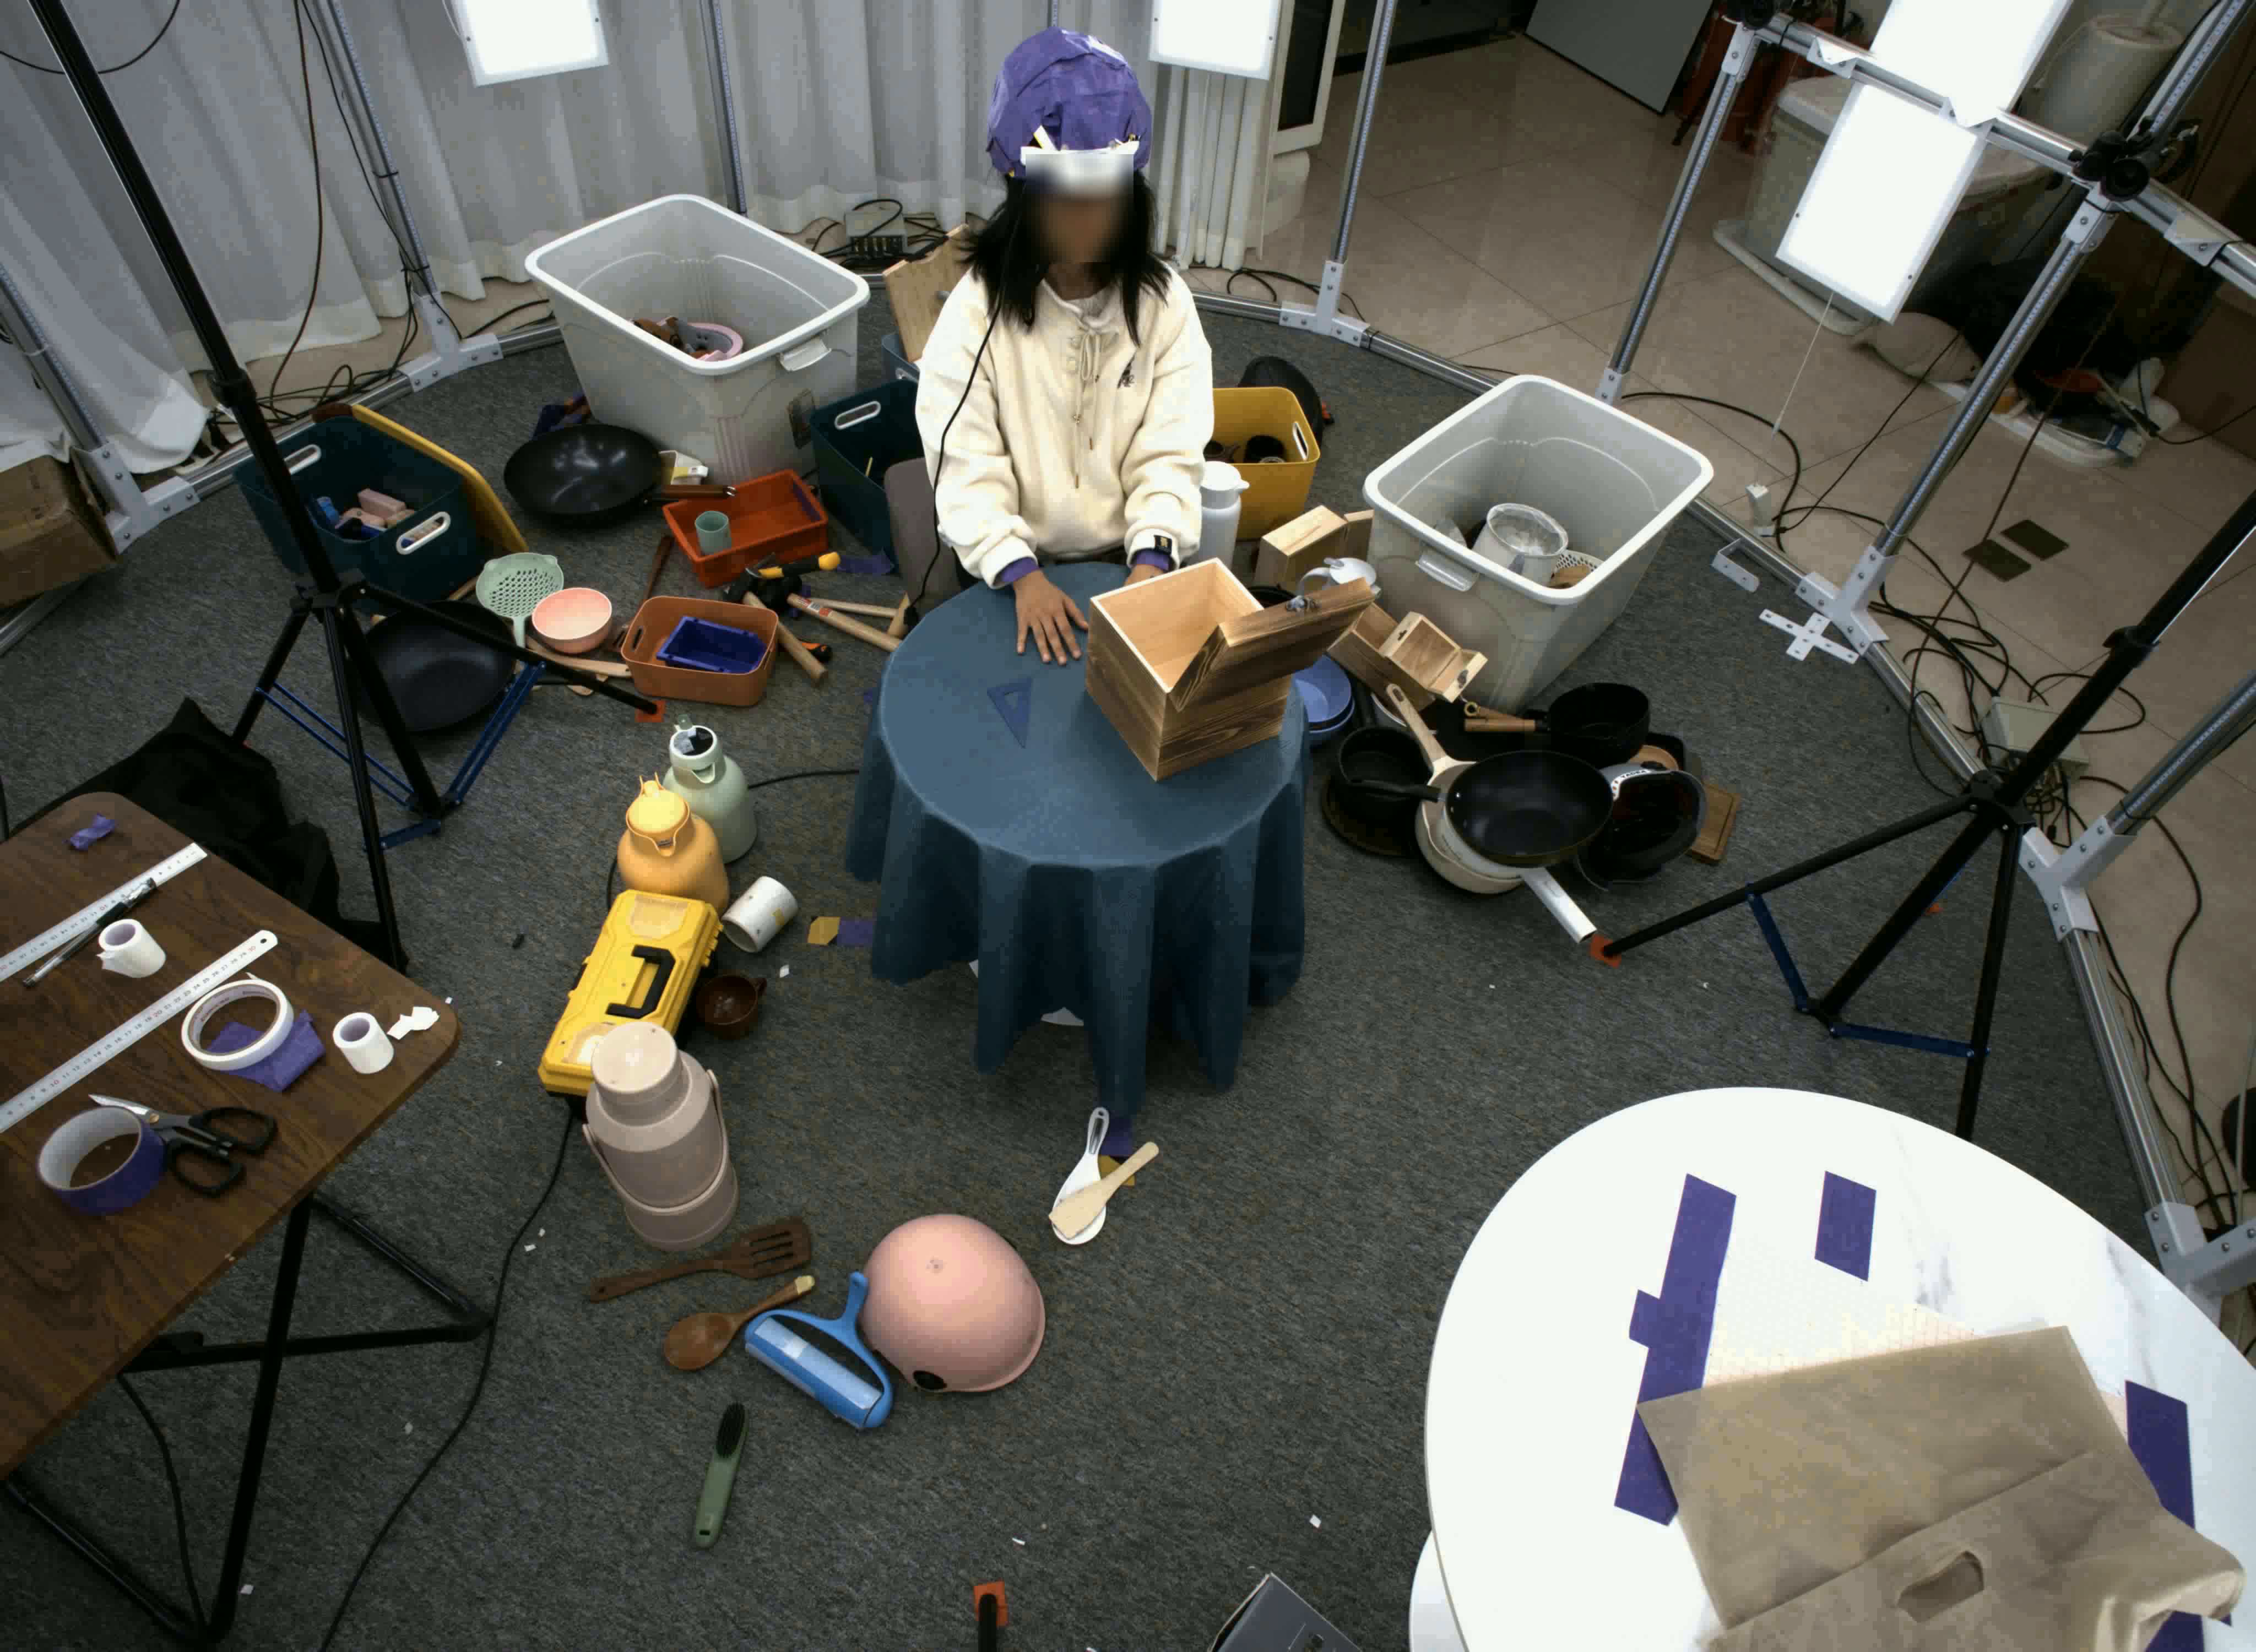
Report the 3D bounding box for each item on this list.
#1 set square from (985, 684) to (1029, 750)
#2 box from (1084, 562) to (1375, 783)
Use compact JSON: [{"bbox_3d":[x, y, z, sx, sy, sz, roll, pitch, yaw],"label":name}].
[{"bbox_3d":[-0.176,-0.158,1.792,0.061,0.006,0.135,9,49,-1],"label":"set square"},{"bbox_3d":[0.113,-0.239,1.655,0.209,0.366,0.329,-21,55,-21],"label":"box"}]
